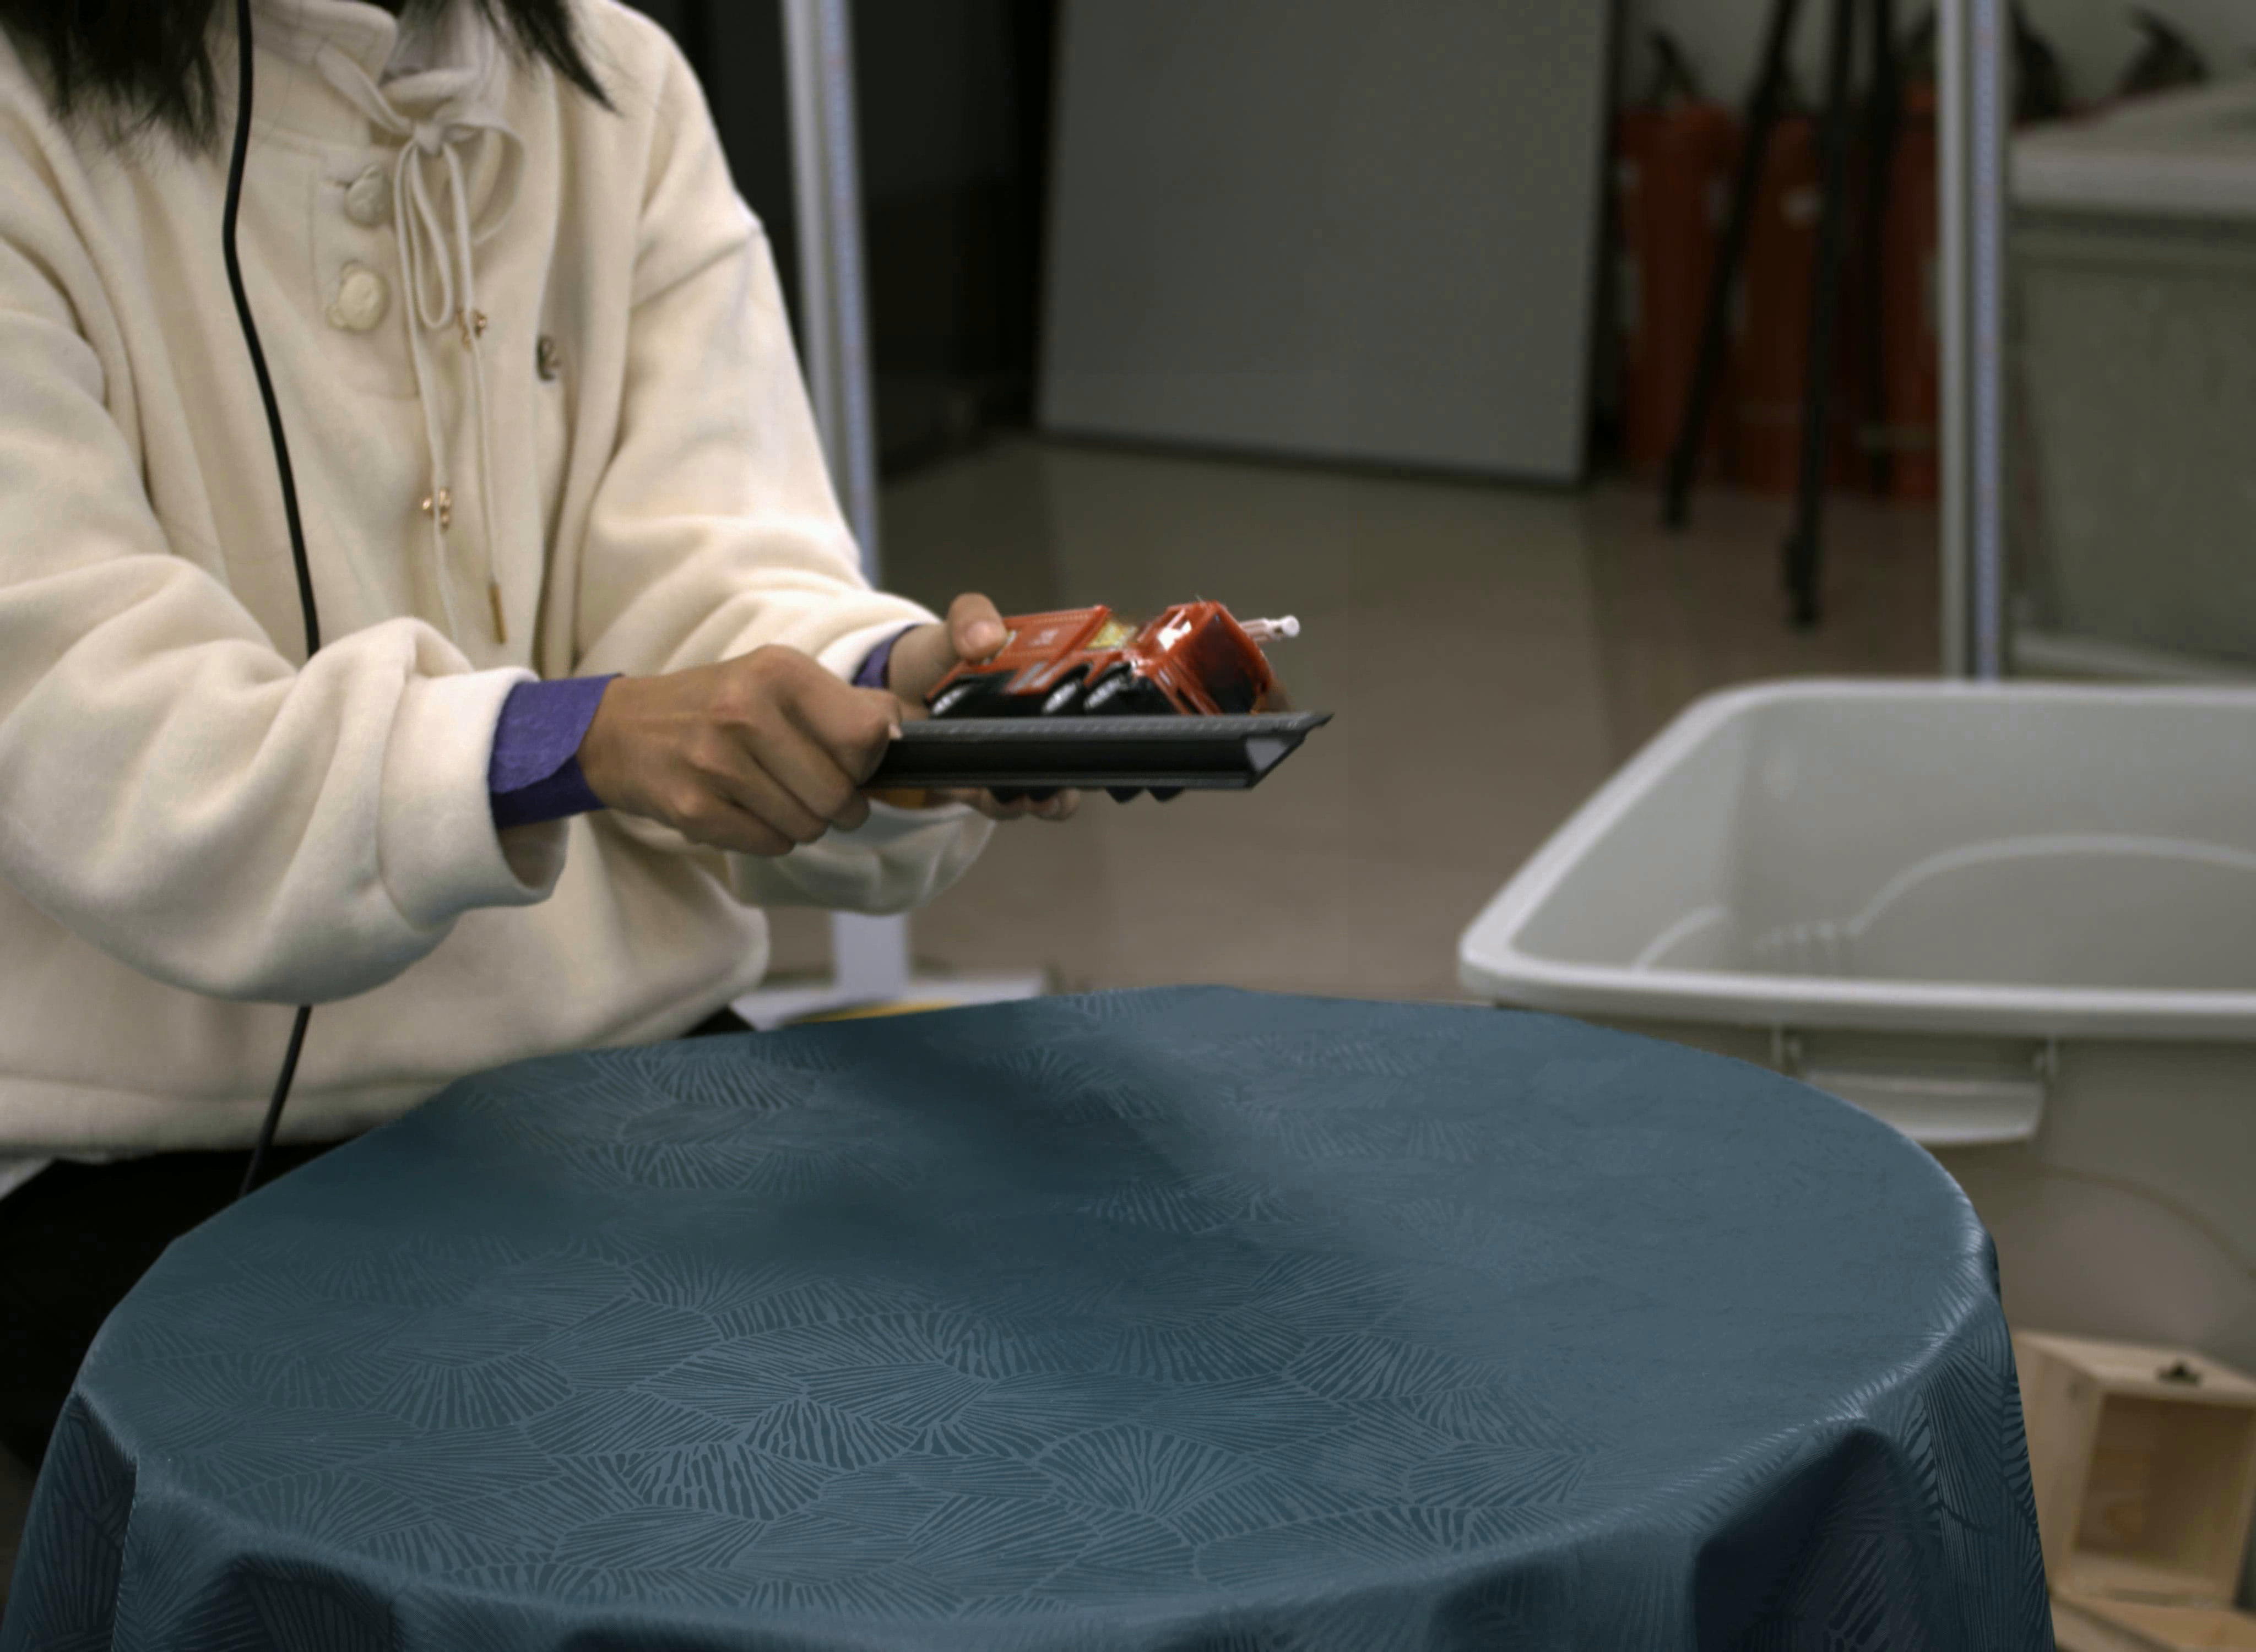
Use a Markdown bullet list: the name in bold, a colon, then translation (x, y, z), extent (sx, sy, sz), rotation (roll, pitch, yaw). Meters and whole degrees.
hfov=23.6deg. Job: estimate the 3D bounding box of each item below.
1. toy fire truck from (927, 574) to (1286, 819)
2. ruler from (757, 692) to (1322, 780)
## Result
- **toy fire truck**: translation (-0.009, -0.043, 1.805), extent (0.070, 0.054, 0.169), rotation (-49, 18, -22)
- **ruler**: translation (-0.036, -0.034, 1.737), extent (0.039, 0.017, 0.316), rotation (-39, 18, -25)
